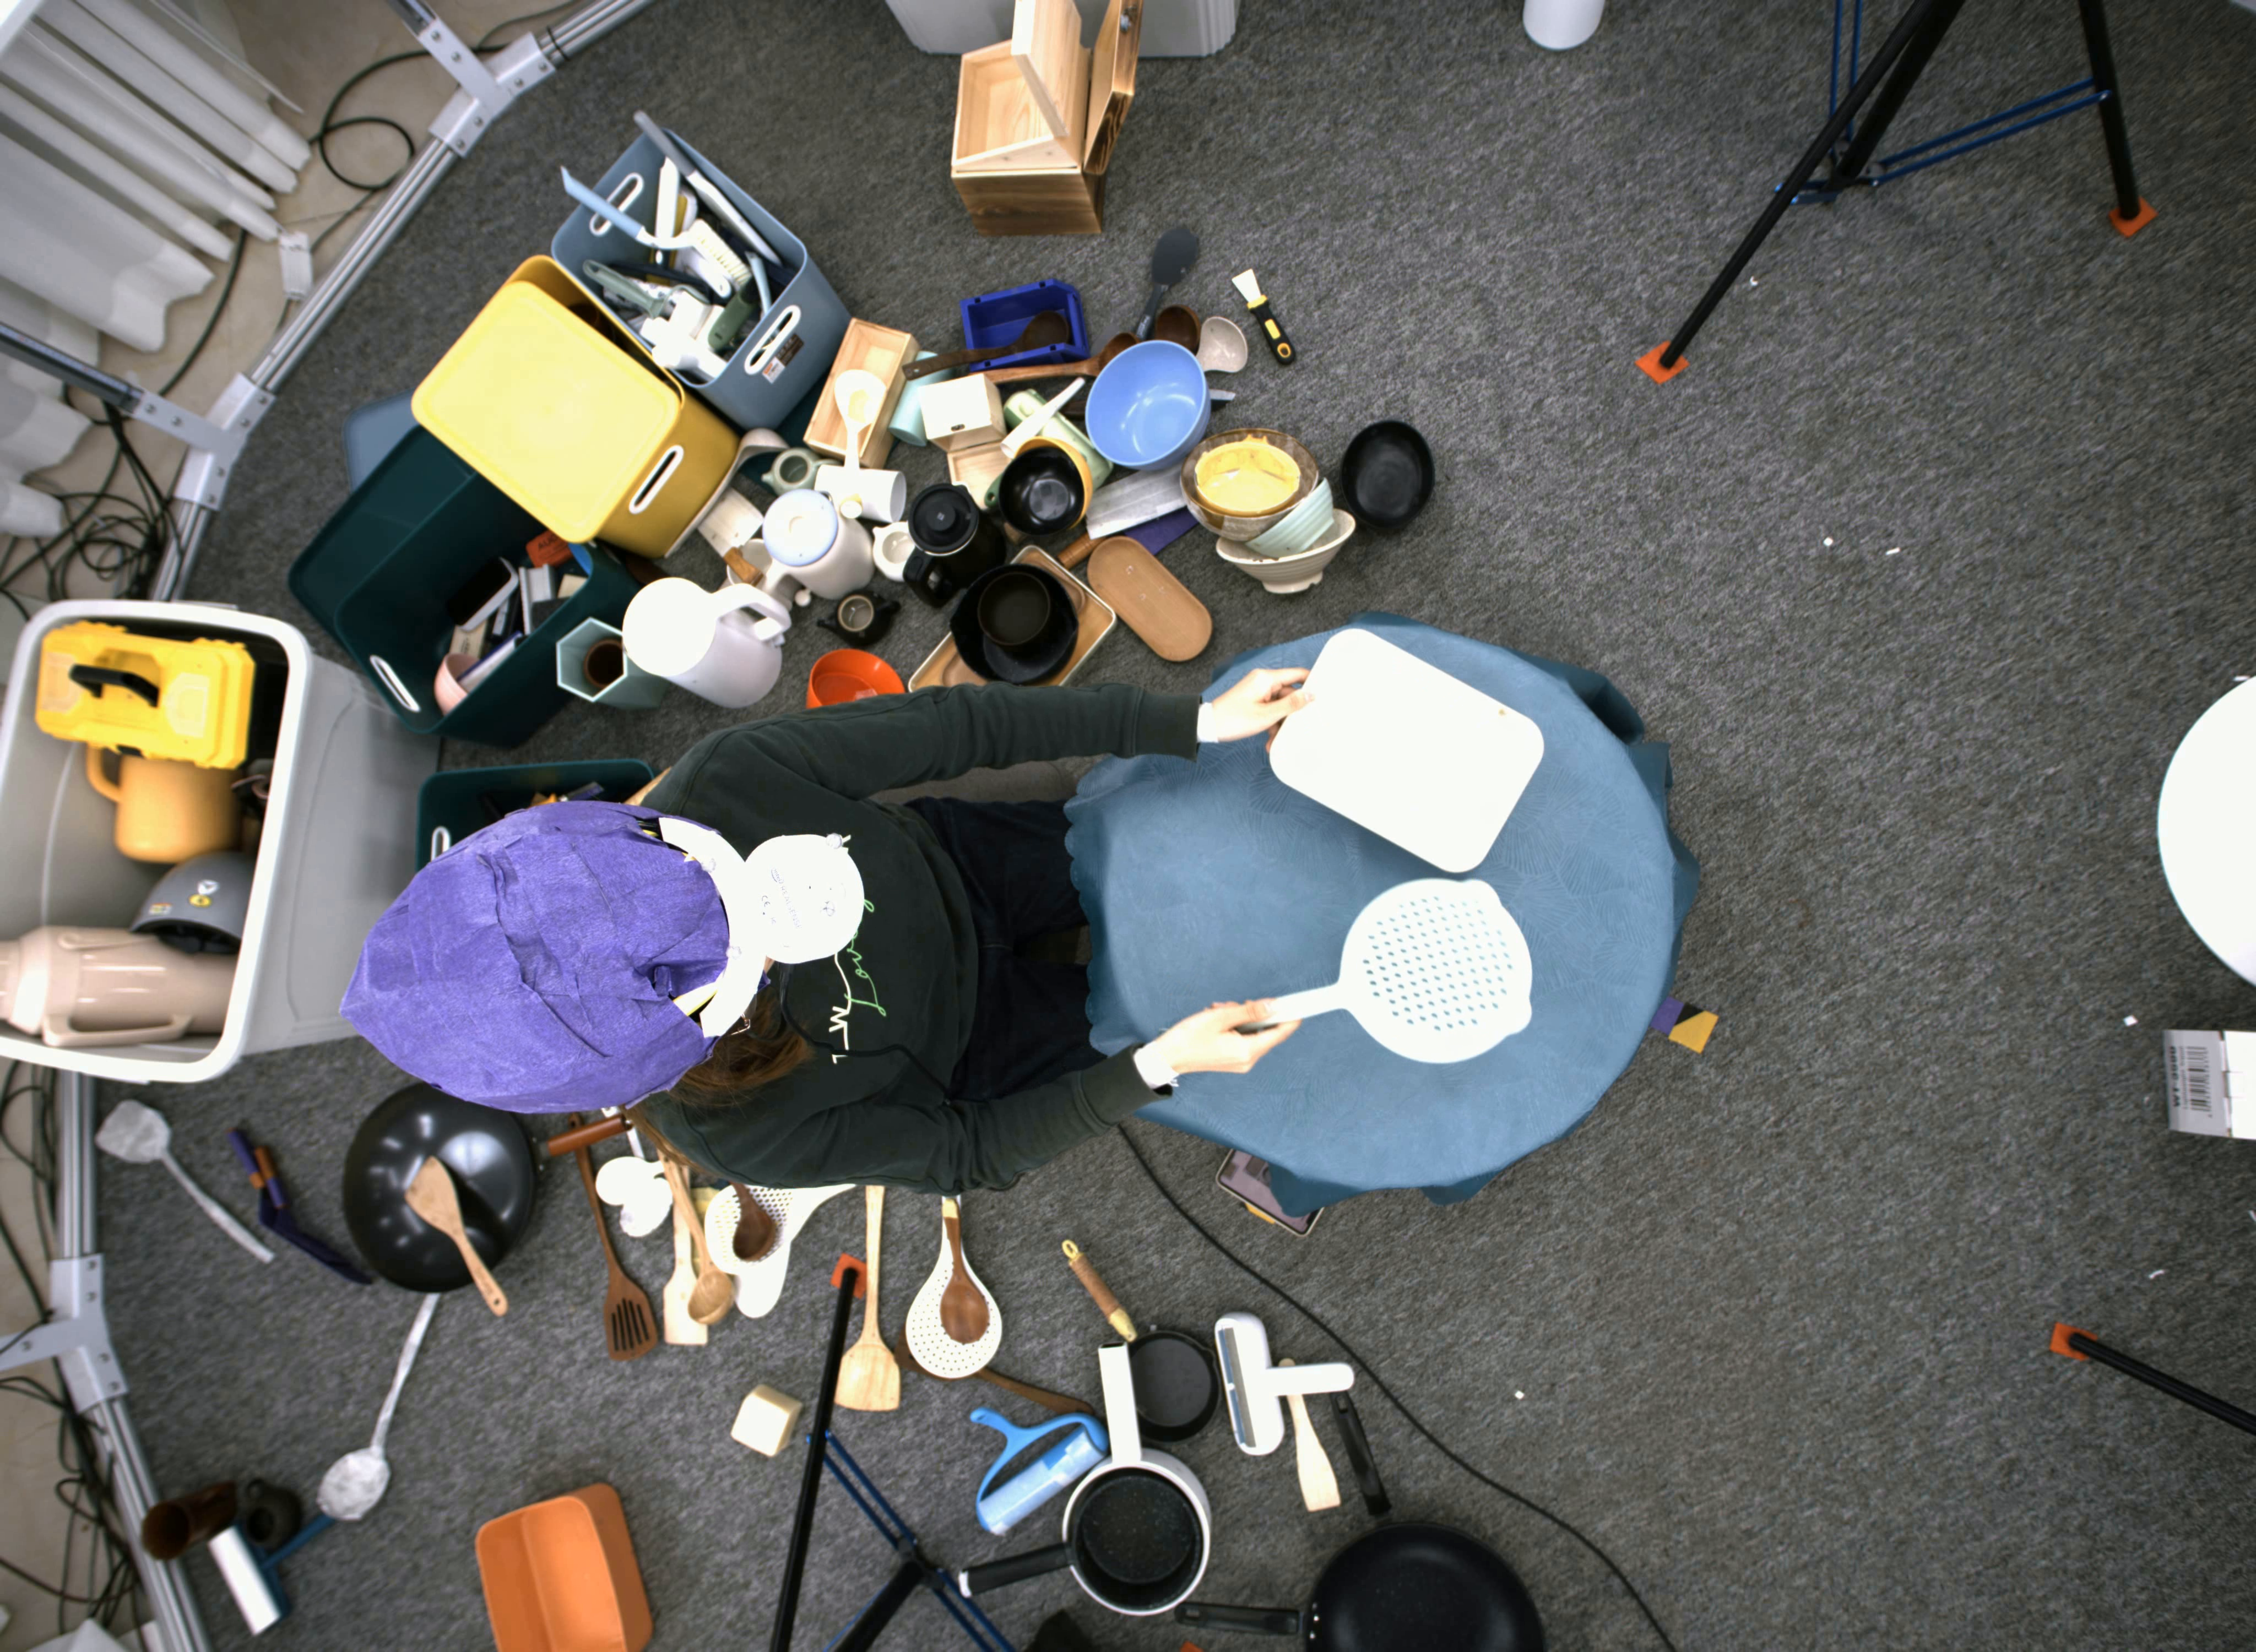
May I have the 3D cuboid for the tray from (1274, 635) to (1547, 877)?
[{"bbox_3d":[0.279,-0.071,1.366,0.240,0.017,0.172,29,99,2],"label":"tray"}]

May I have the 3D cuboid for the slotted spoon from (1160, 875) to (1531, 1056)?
[{"bbox_3d":[0.197,0.156,1.311,0.361,0.075,0.169,-18,92,10],"label":"slotted spoon"}]
